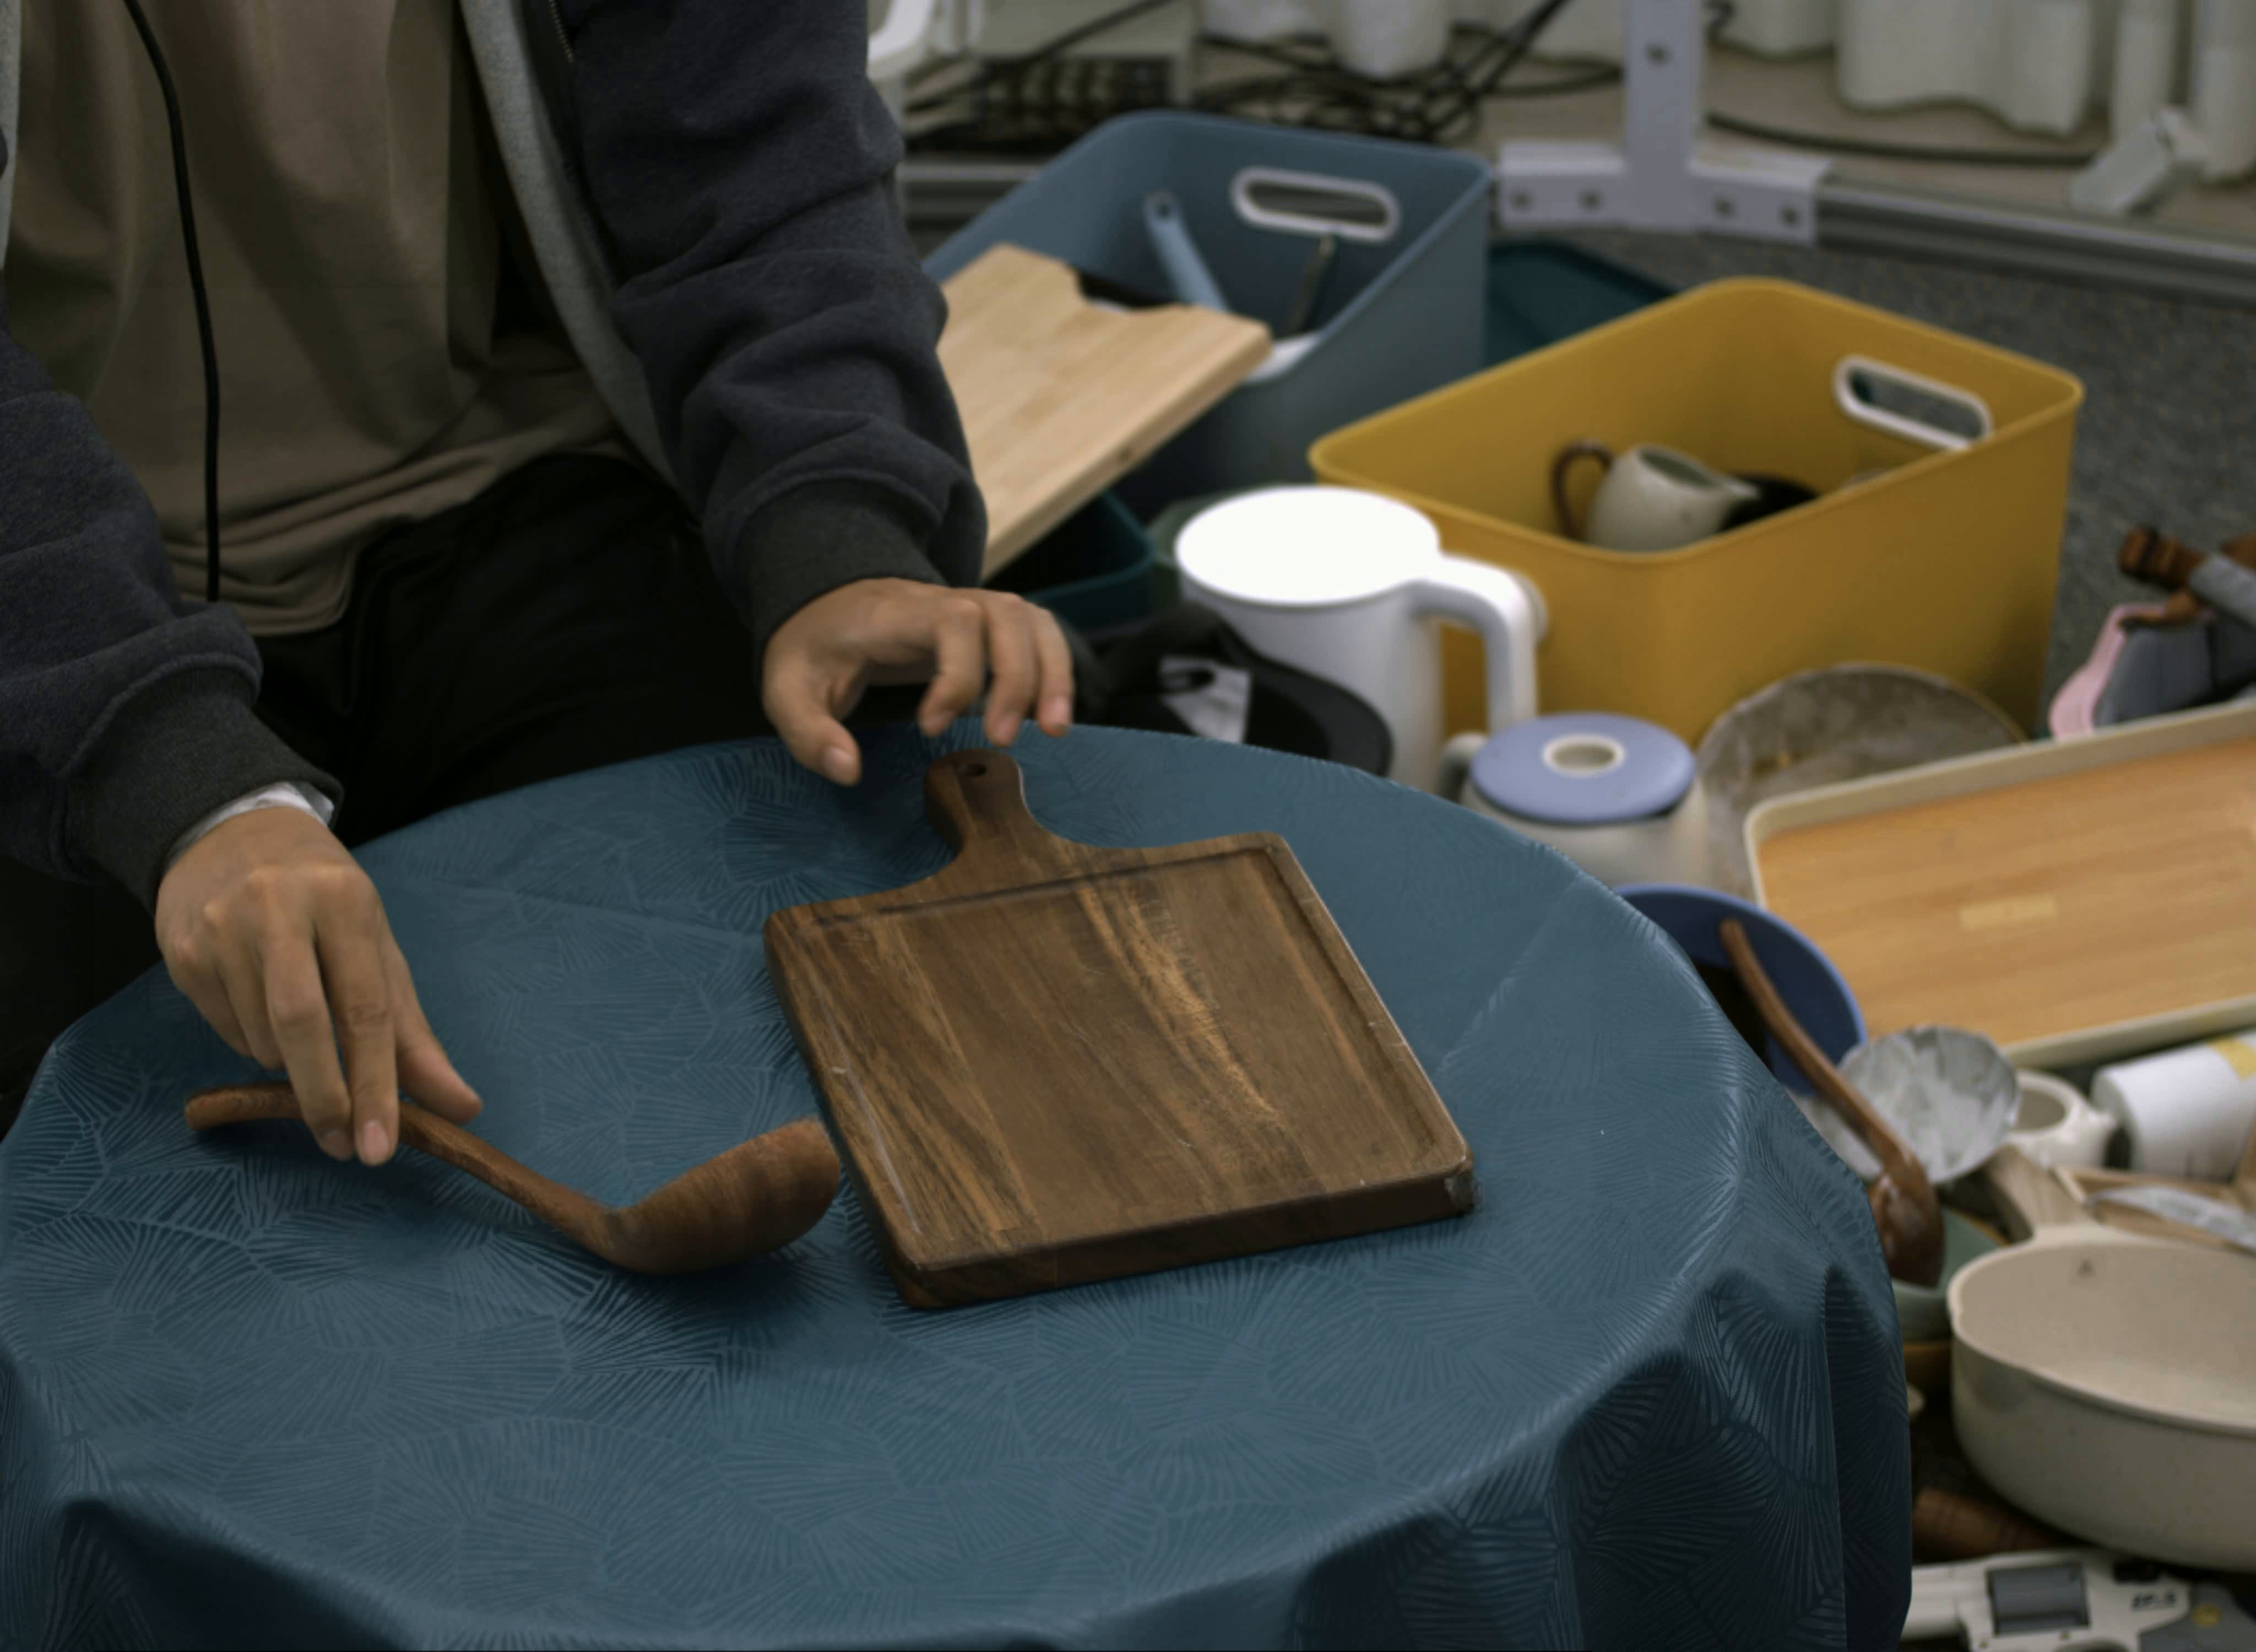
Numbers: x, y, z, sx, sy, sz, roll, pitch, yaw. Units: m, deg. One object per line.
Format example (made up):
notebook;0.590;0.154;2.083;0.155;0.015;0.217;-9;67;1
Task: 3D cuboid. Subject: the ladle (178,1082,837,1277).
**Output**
ladle;-0.210;0.100;1.857;0.259;0.065;0.077;14;3;31

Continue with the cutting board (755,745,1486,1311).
cutting board;-0.020;0.057;1.965;0.201;0.023;0.356;-8;28;-12
